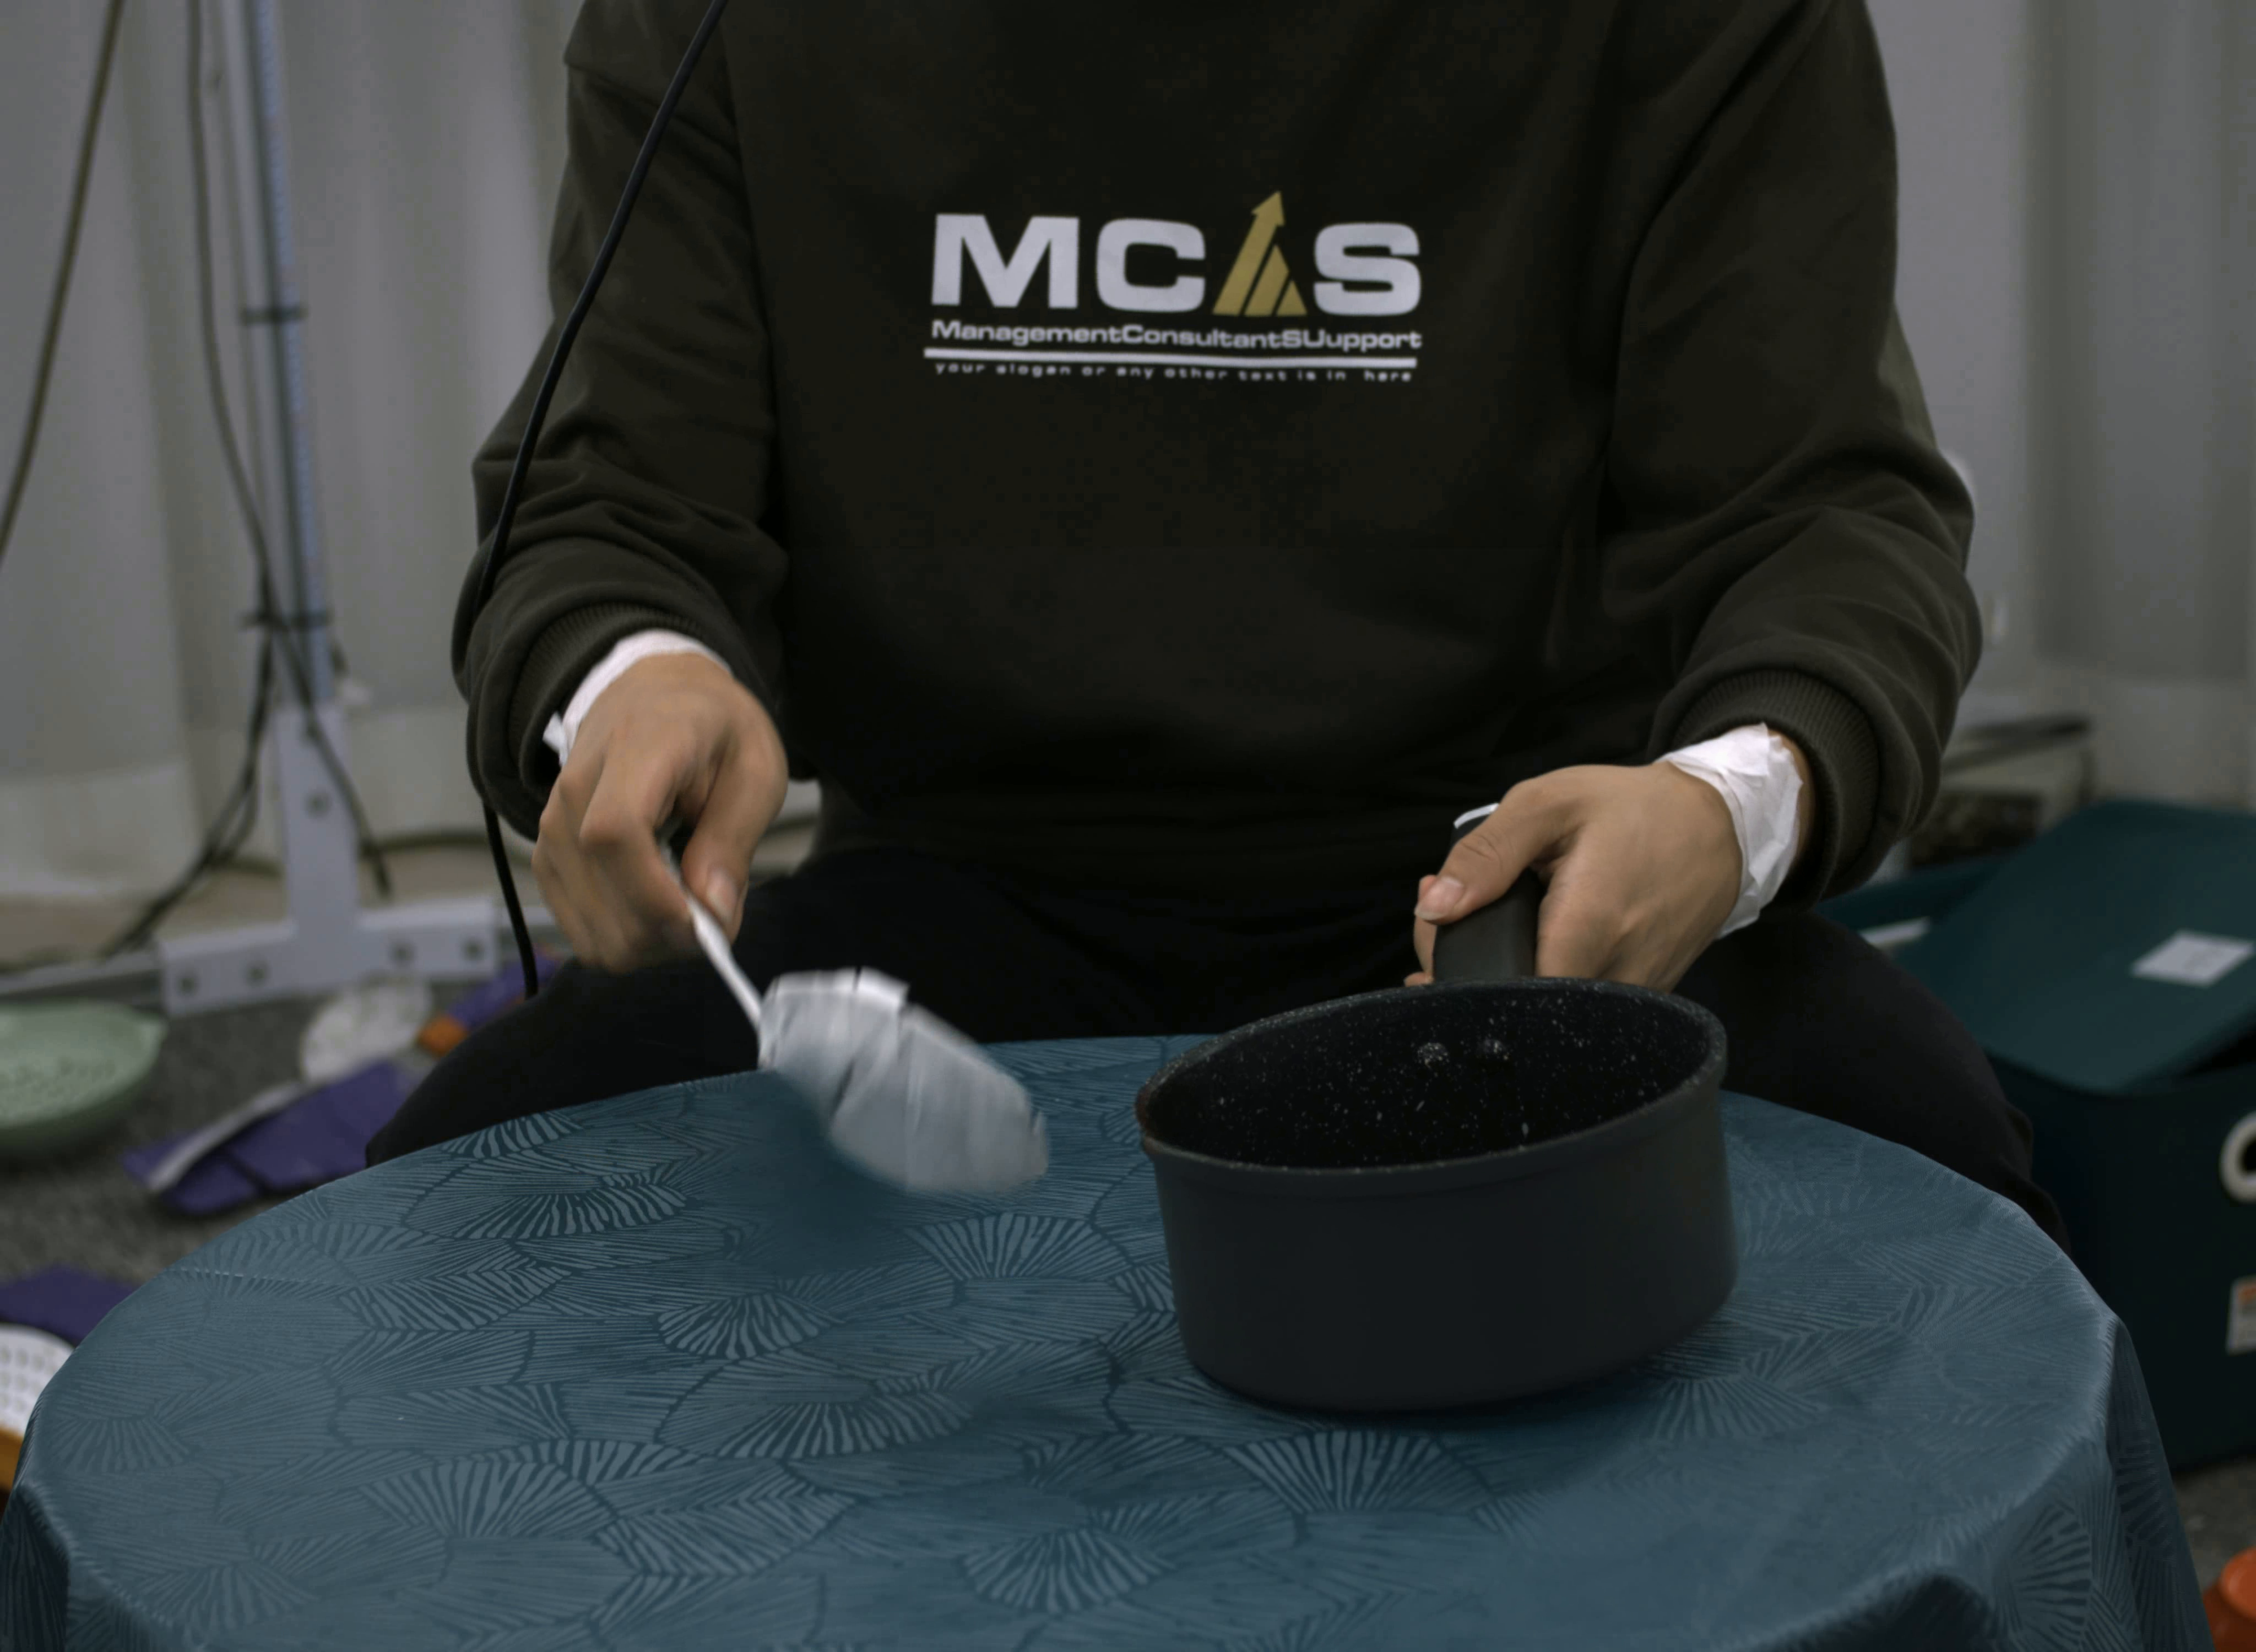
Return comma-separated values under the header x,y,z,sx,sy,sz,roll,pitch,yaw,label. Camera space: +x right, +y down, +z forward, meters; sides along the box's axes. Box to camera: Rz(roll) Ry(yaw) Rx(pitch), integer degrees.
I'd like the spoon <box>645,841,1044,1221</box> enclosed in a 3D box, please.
x,y,z,sx,sy,sz,roll,pitch,yaw,label
-0.089,0.045,1.621,0.059,0.099,0.280,-38,26,0,spoon

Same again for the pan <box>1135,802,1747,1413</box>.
x,y,z,sx,sy,sz,roll,pitch,yaw,label
0.107,0.080,1.640,0.172,0.086,0.330,-3,16,13,pan
